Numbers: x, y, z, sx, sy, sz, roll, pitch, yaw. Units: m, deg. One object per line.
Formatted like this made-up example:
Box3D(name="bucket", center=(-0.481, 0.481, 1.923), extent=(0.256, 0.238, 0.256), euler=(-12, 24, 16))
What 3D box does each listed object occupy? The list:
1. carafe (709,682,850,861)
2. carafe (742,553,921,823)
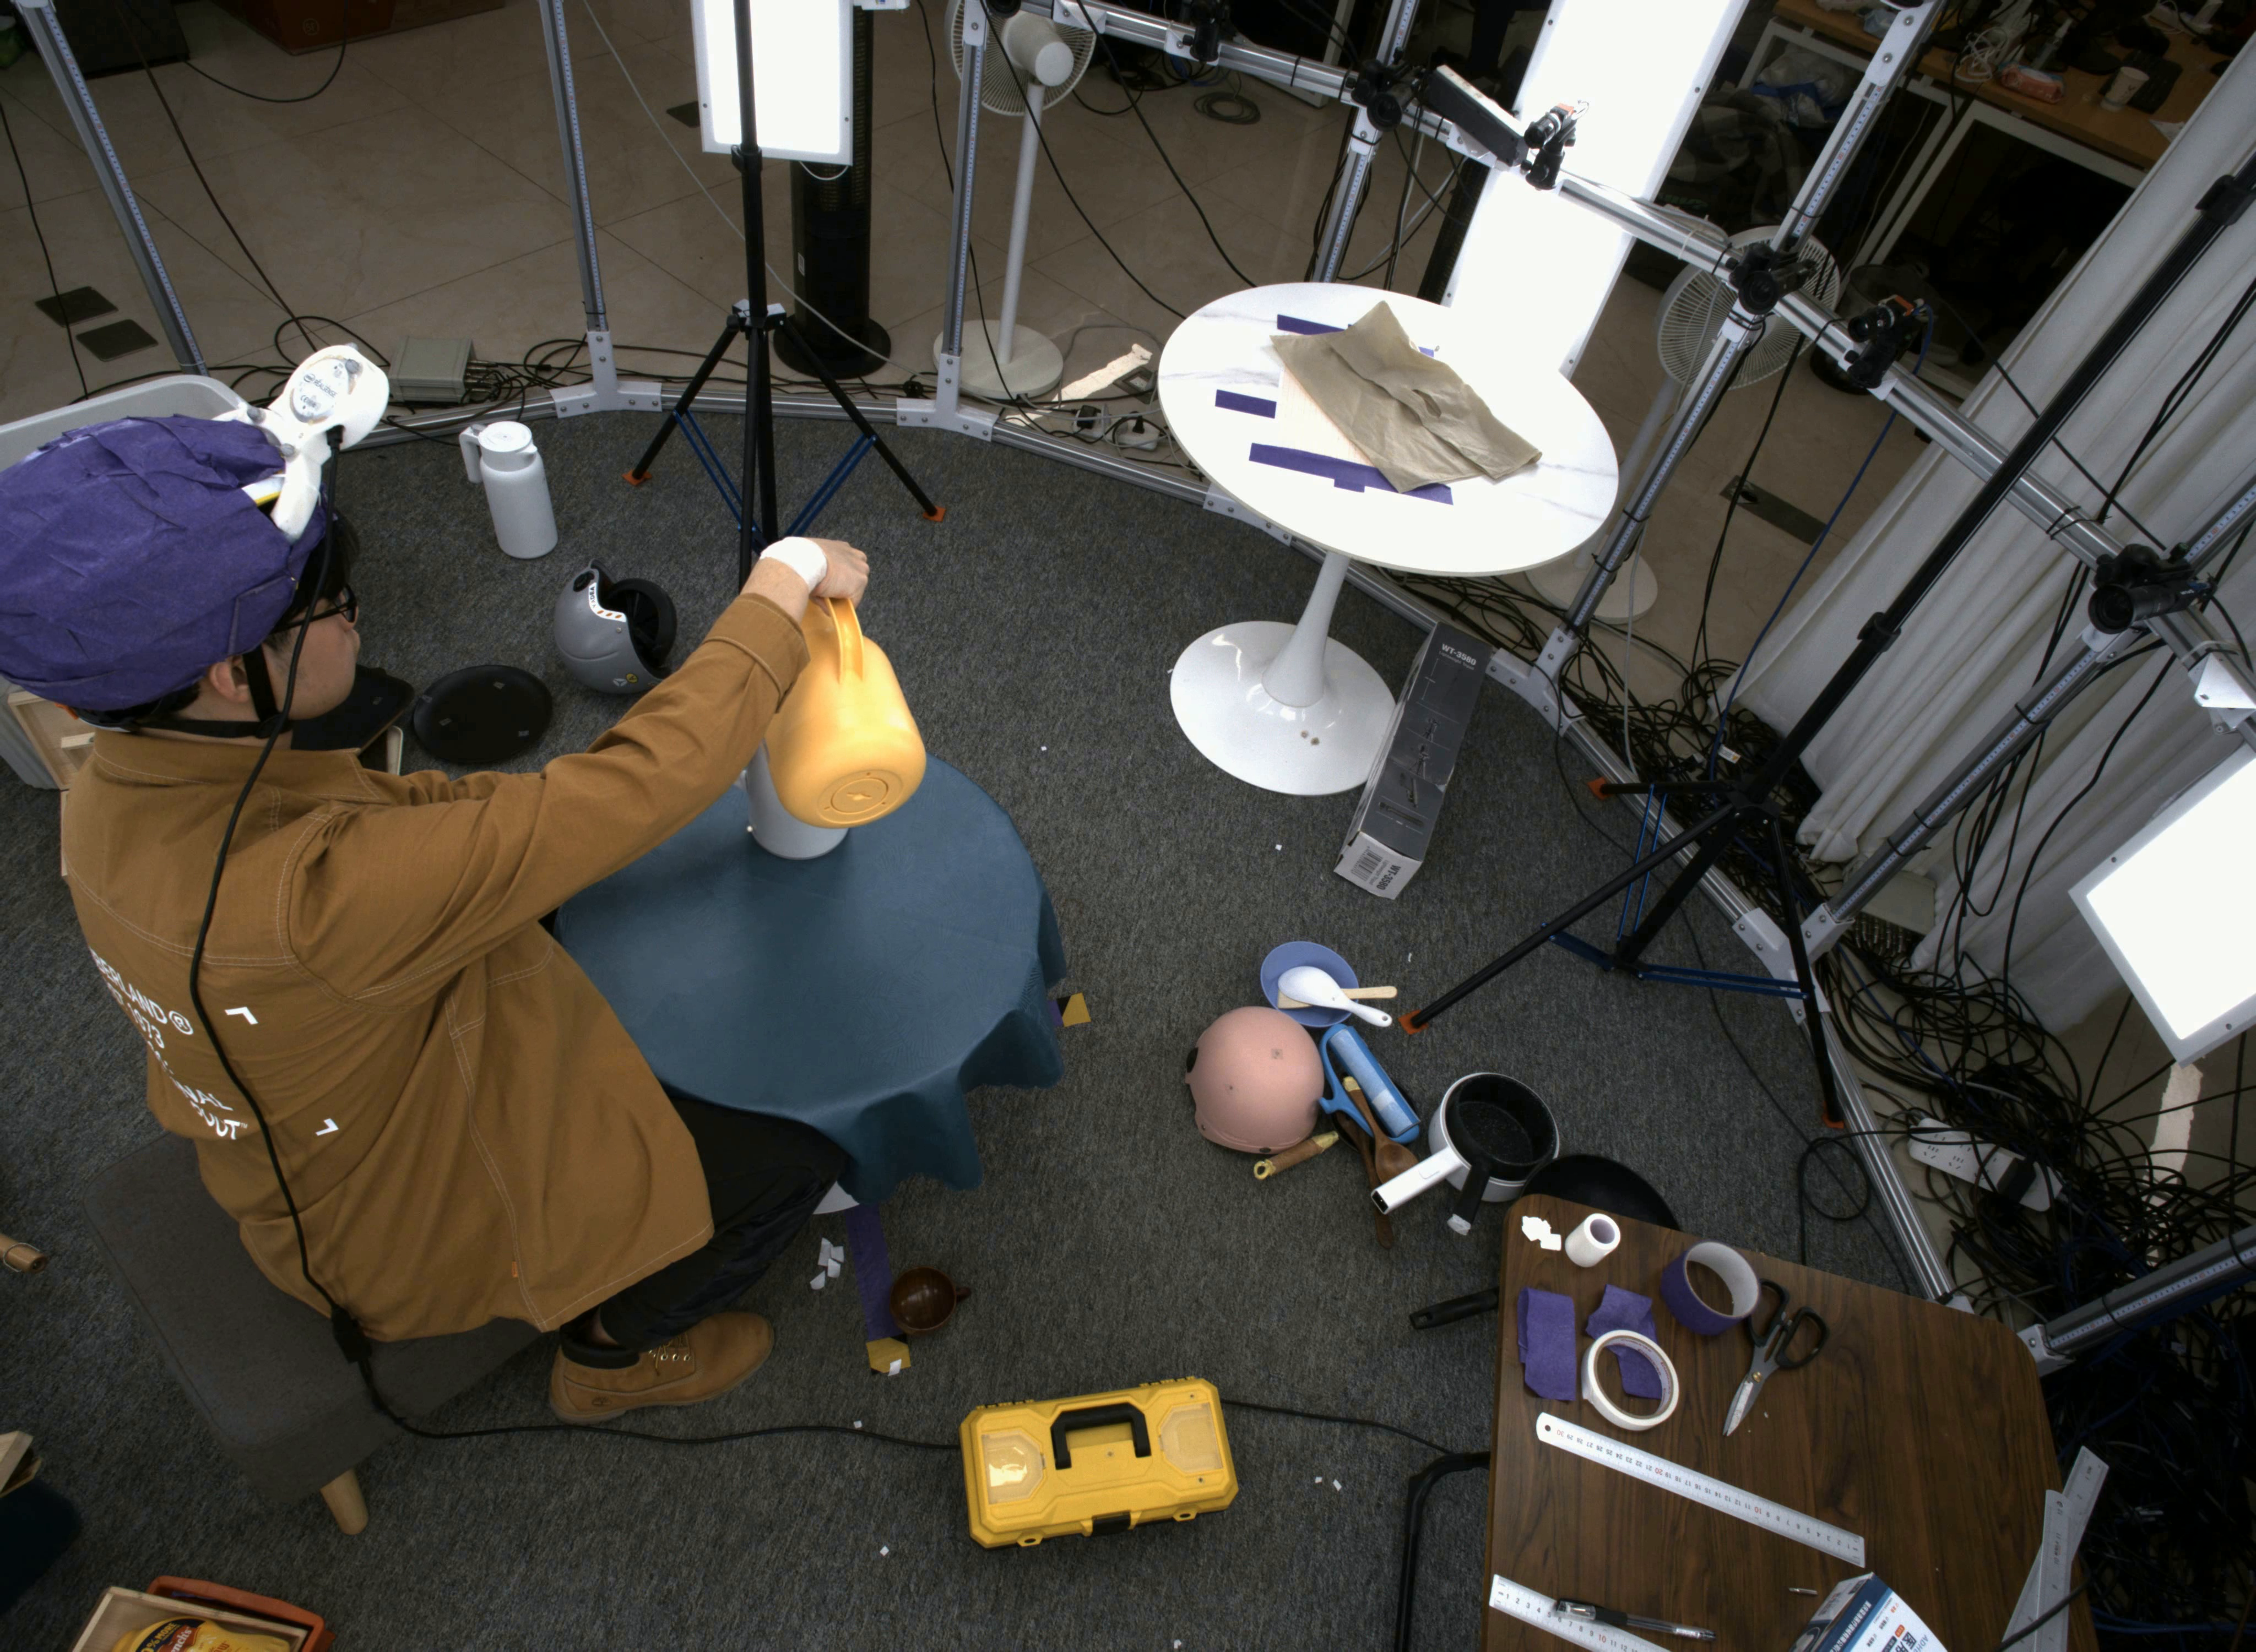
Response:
Box3D(name="carafe", center=(-0.436, -0.084, 1.621), extent=(0.168, 0.254, 0.129), euler=(-3, 53, -14))
Box3D(name="carafe", center=(-0.327, -0.155, 1.379), extent=(0.165, 0.205, 0.254), euler=(-11, 58, -29))
